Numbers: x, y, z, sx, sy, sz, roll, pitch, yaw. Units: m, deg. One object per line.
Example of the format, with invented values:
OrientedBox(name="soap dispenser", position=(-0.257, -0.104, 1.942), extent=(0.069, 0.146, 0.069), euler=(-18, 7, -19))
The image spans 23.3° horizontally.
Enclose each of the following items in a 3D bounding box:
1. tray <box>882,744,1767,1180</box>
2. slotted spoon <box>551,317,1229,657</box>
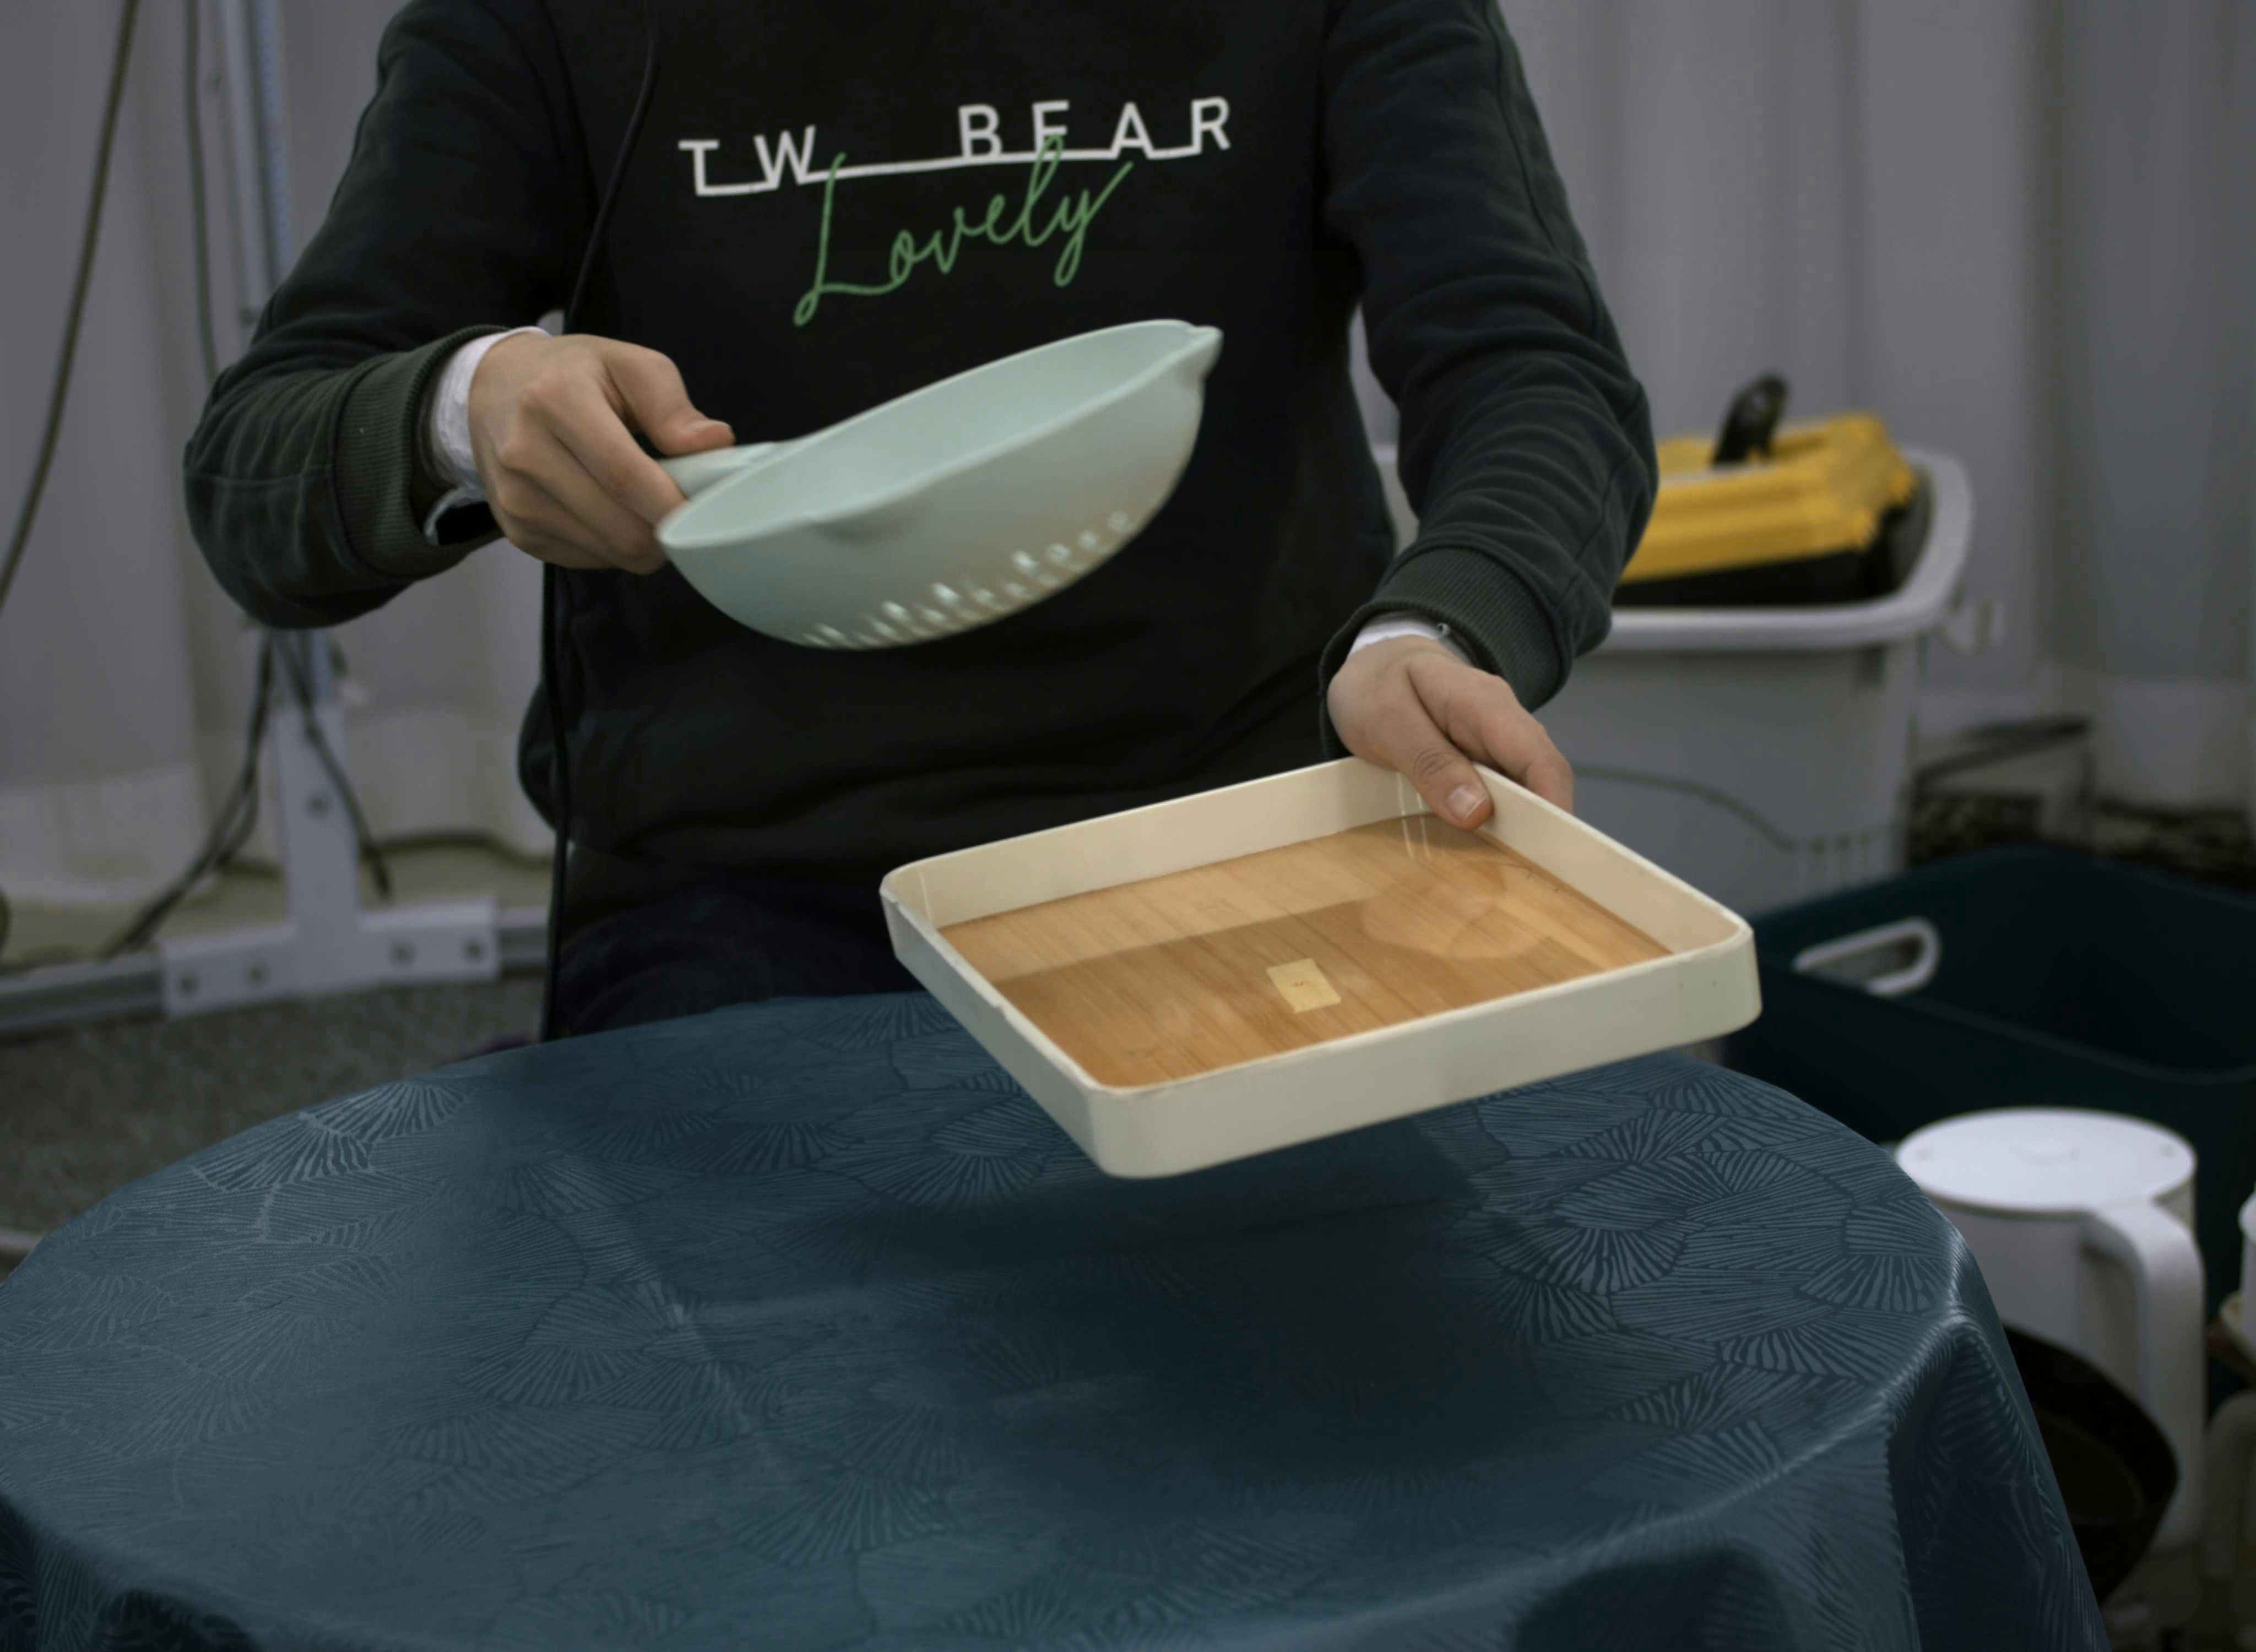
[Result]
OrientedBox(name="tray", position=(0.049, 0.035, 1.589), extent=(0.191, 0.027, 0.302), euler=(-13, 14, -11))
OrientedBox(name="slotted spoon", position=(-0.101, -0.102, 1.692), extent=(0.169, 0.075, 0.361), euler=(-28, 21, -28))
